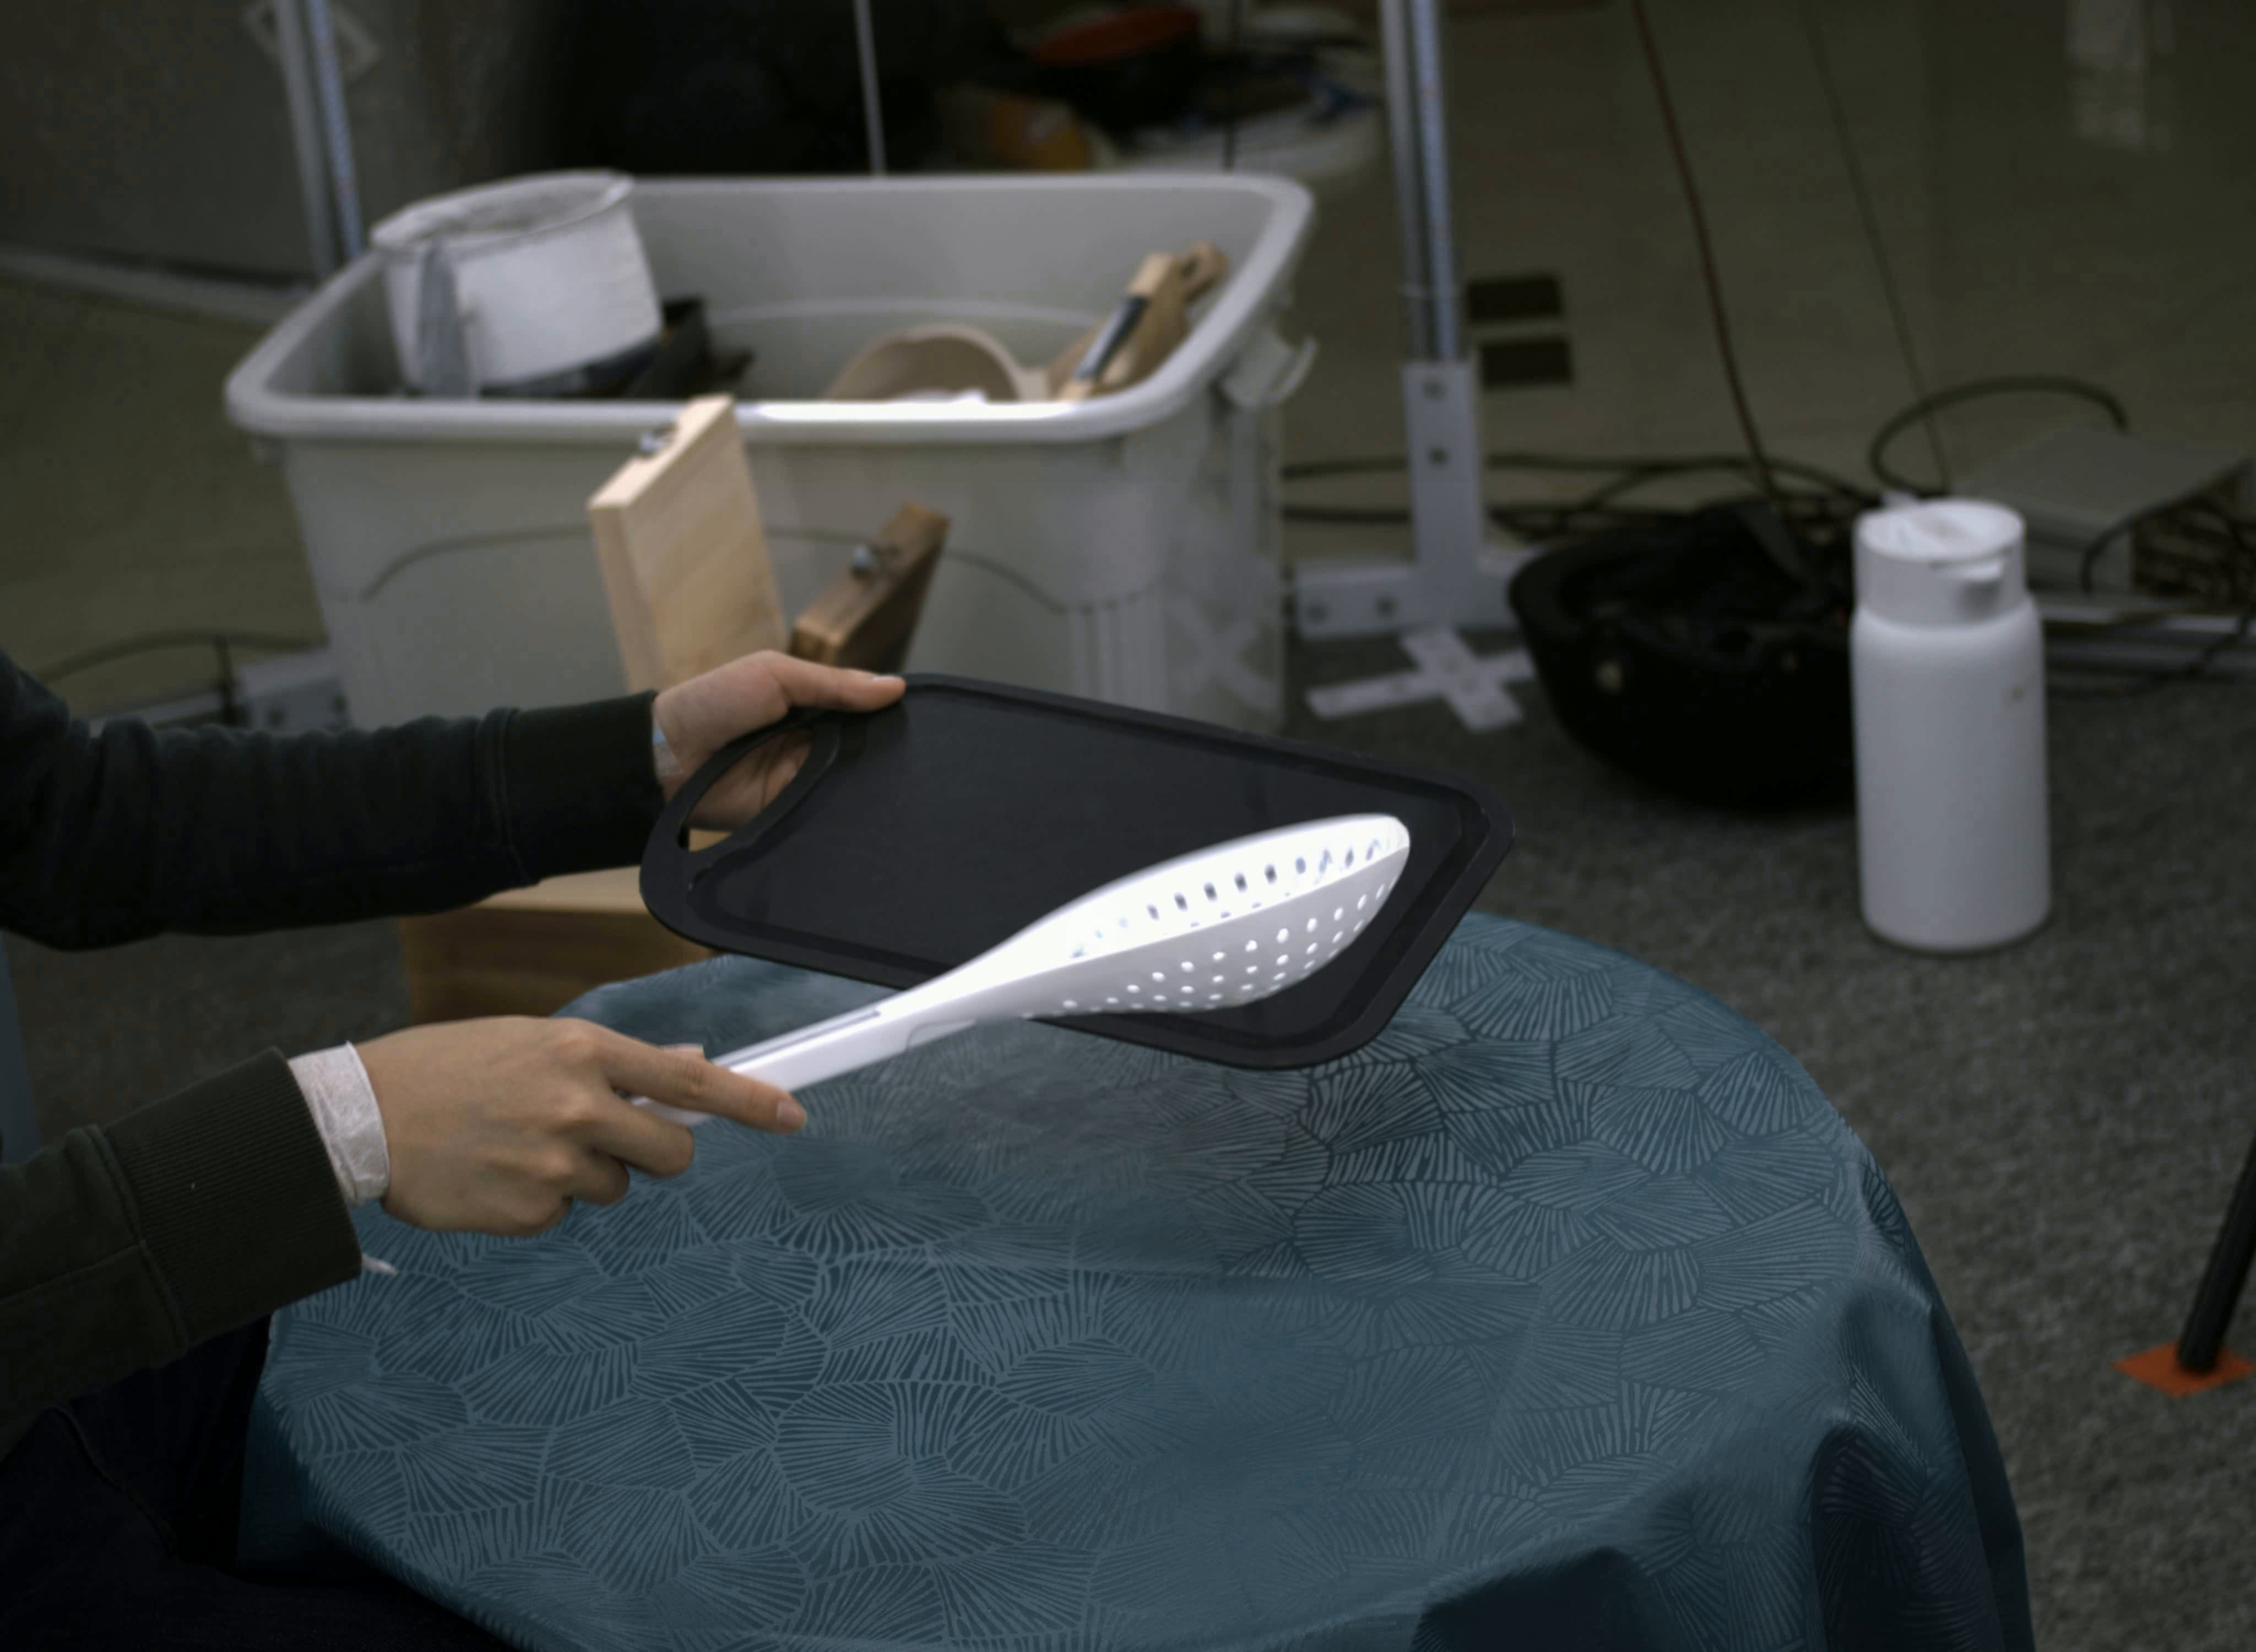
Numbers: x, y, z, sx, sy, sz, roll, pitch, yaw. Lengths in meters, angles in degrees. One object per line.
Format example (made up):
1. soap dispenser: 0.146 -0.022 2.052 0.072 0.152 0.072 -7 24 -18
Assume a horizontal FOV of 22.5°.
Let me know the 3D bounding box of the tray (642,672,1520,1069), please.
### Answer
1. tray: -0.025 0.011 2.184 0.324 0.010 0.208 13 37 22

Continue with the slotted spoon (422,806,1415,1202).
1. slotted spoon: -0.066 0.058 1.879 0.348 0.046 0.135 -15 10 -14
